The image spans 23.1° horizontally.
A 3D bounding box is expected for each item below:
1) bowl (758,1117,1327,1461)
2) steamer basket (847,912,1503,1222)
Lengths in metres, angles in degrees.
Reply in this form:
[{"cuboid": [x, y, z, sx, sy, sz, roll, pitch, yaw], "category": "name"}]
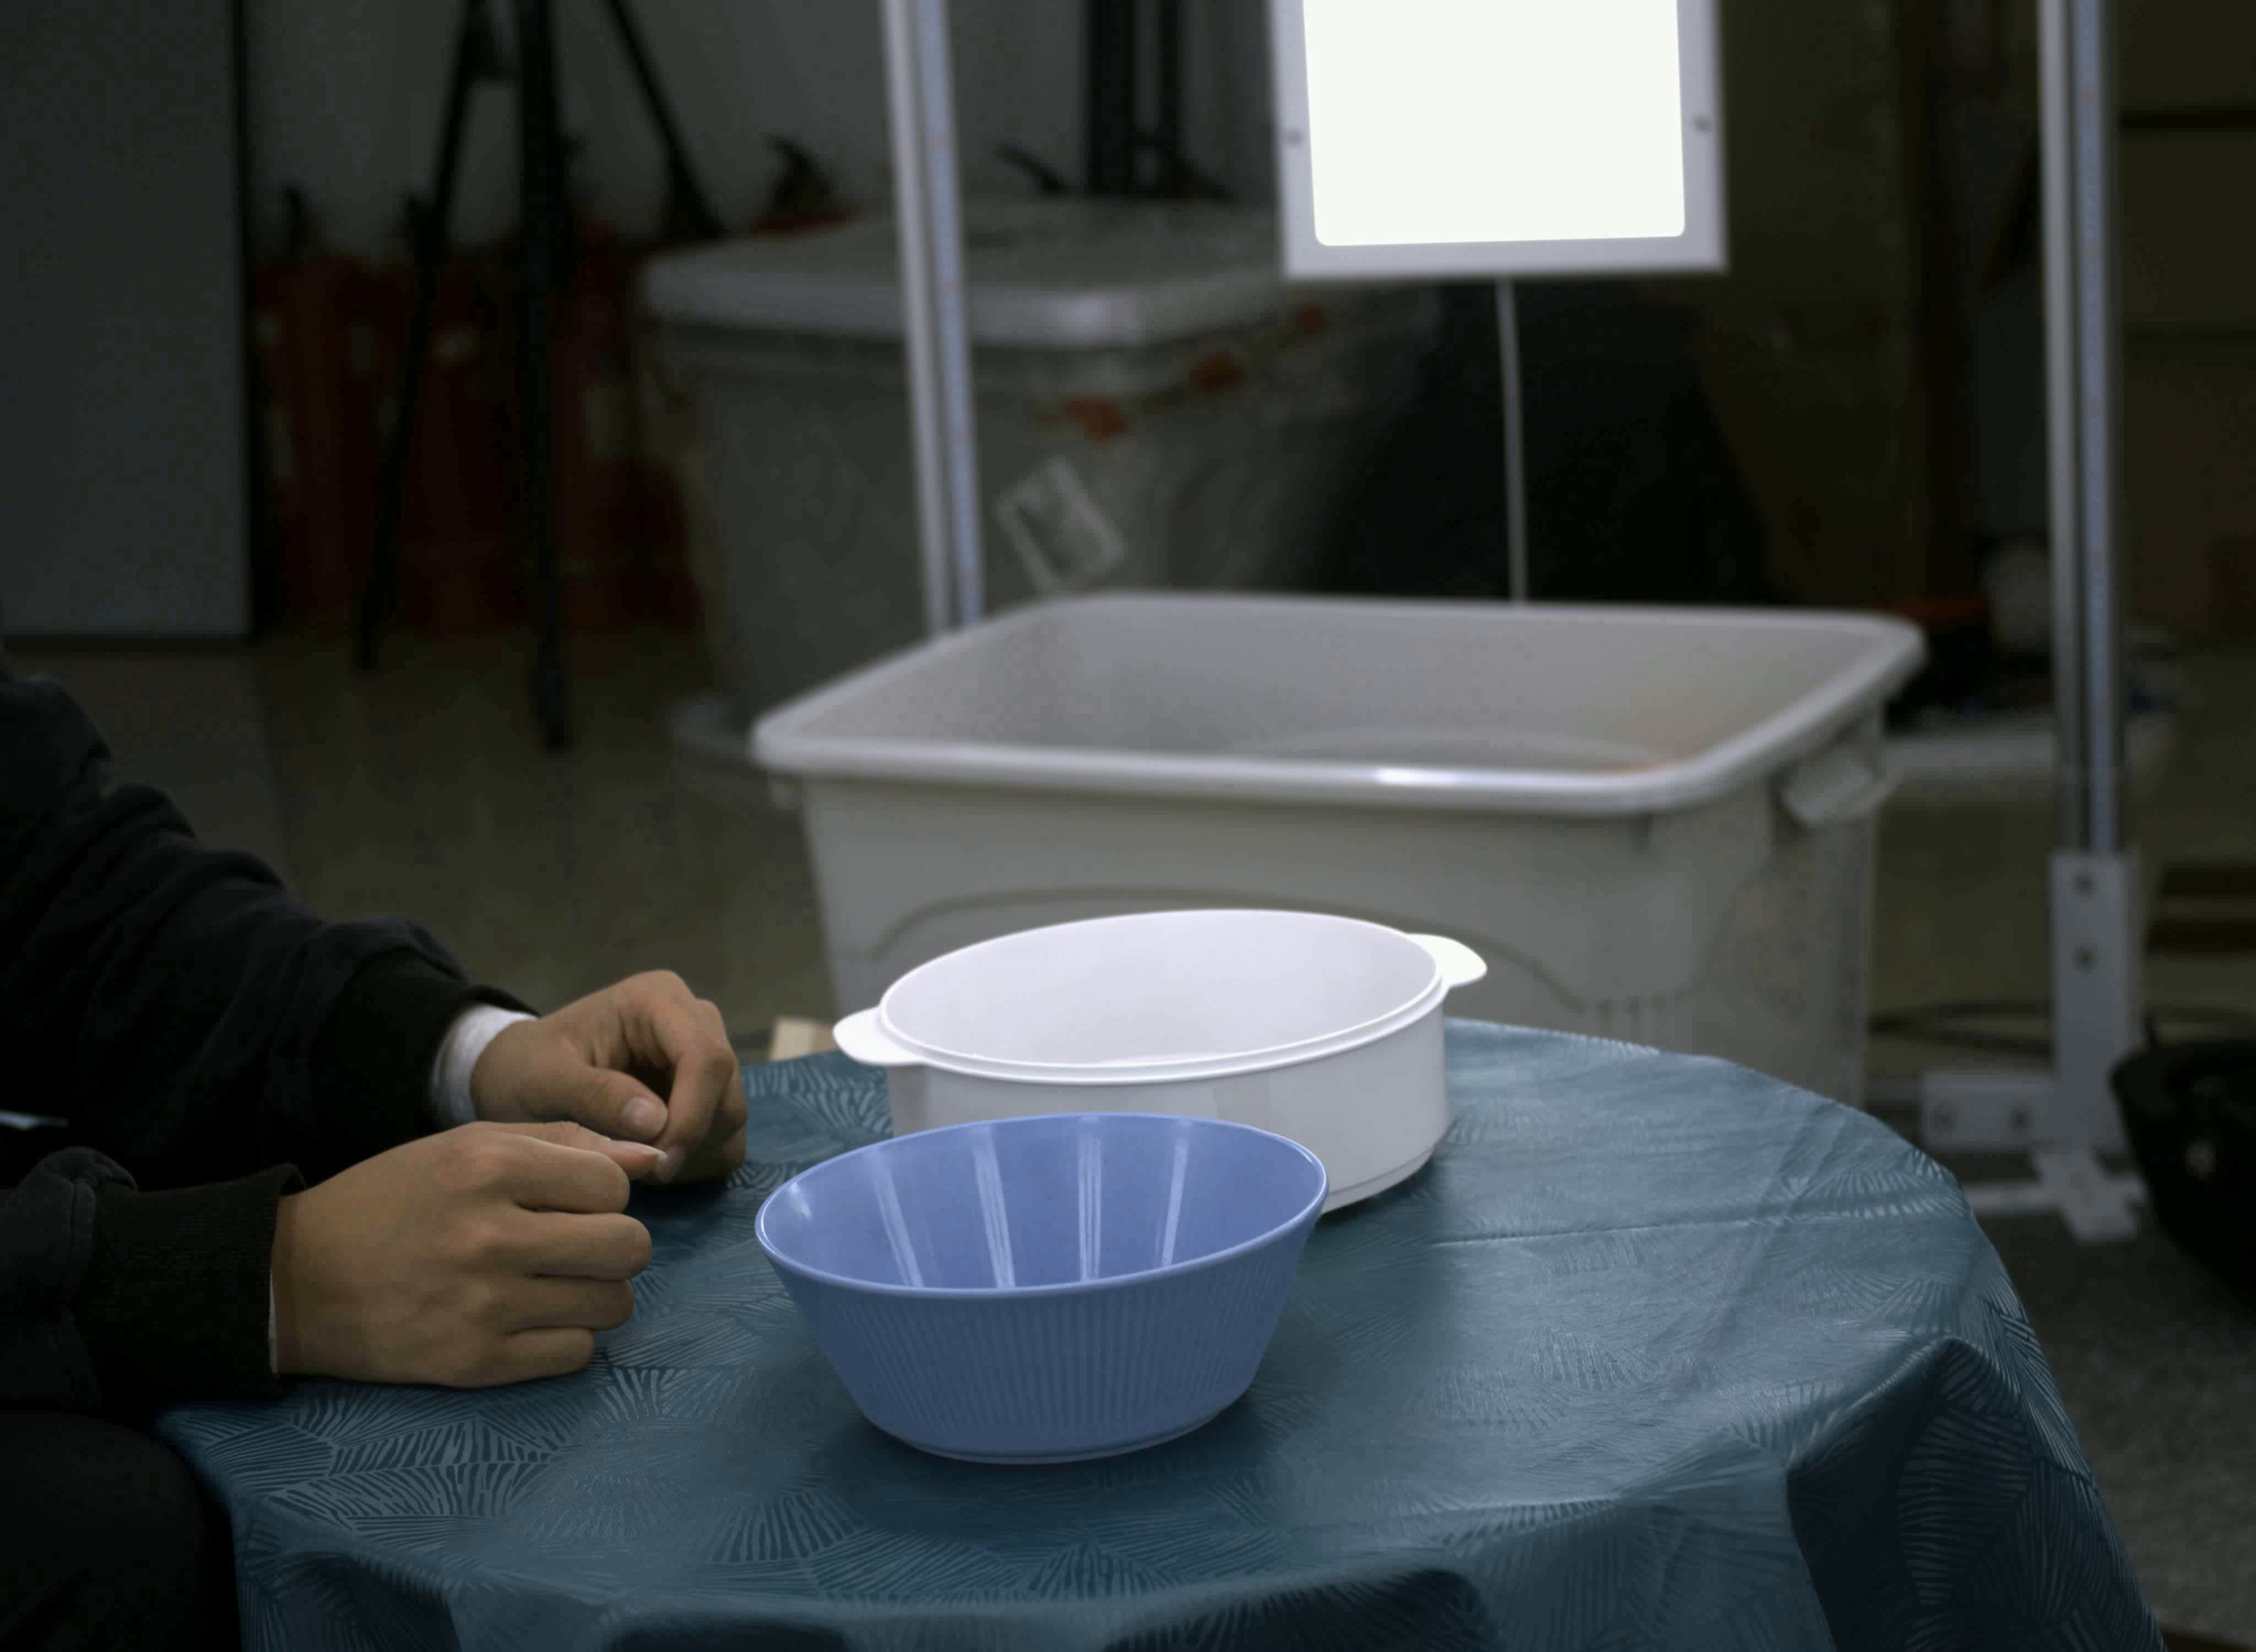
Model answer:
[{"cuboid": [-0.024, 0.144, 1.685, 0.175, 0.070, 0.176, -5, 13, 0], "category": "bowl"}, {"cuboid": [0.019, 0.086, 1.914, 0.228, 0.069, 0.203, -6, 13, -12], "category": "steamer basket"}]
